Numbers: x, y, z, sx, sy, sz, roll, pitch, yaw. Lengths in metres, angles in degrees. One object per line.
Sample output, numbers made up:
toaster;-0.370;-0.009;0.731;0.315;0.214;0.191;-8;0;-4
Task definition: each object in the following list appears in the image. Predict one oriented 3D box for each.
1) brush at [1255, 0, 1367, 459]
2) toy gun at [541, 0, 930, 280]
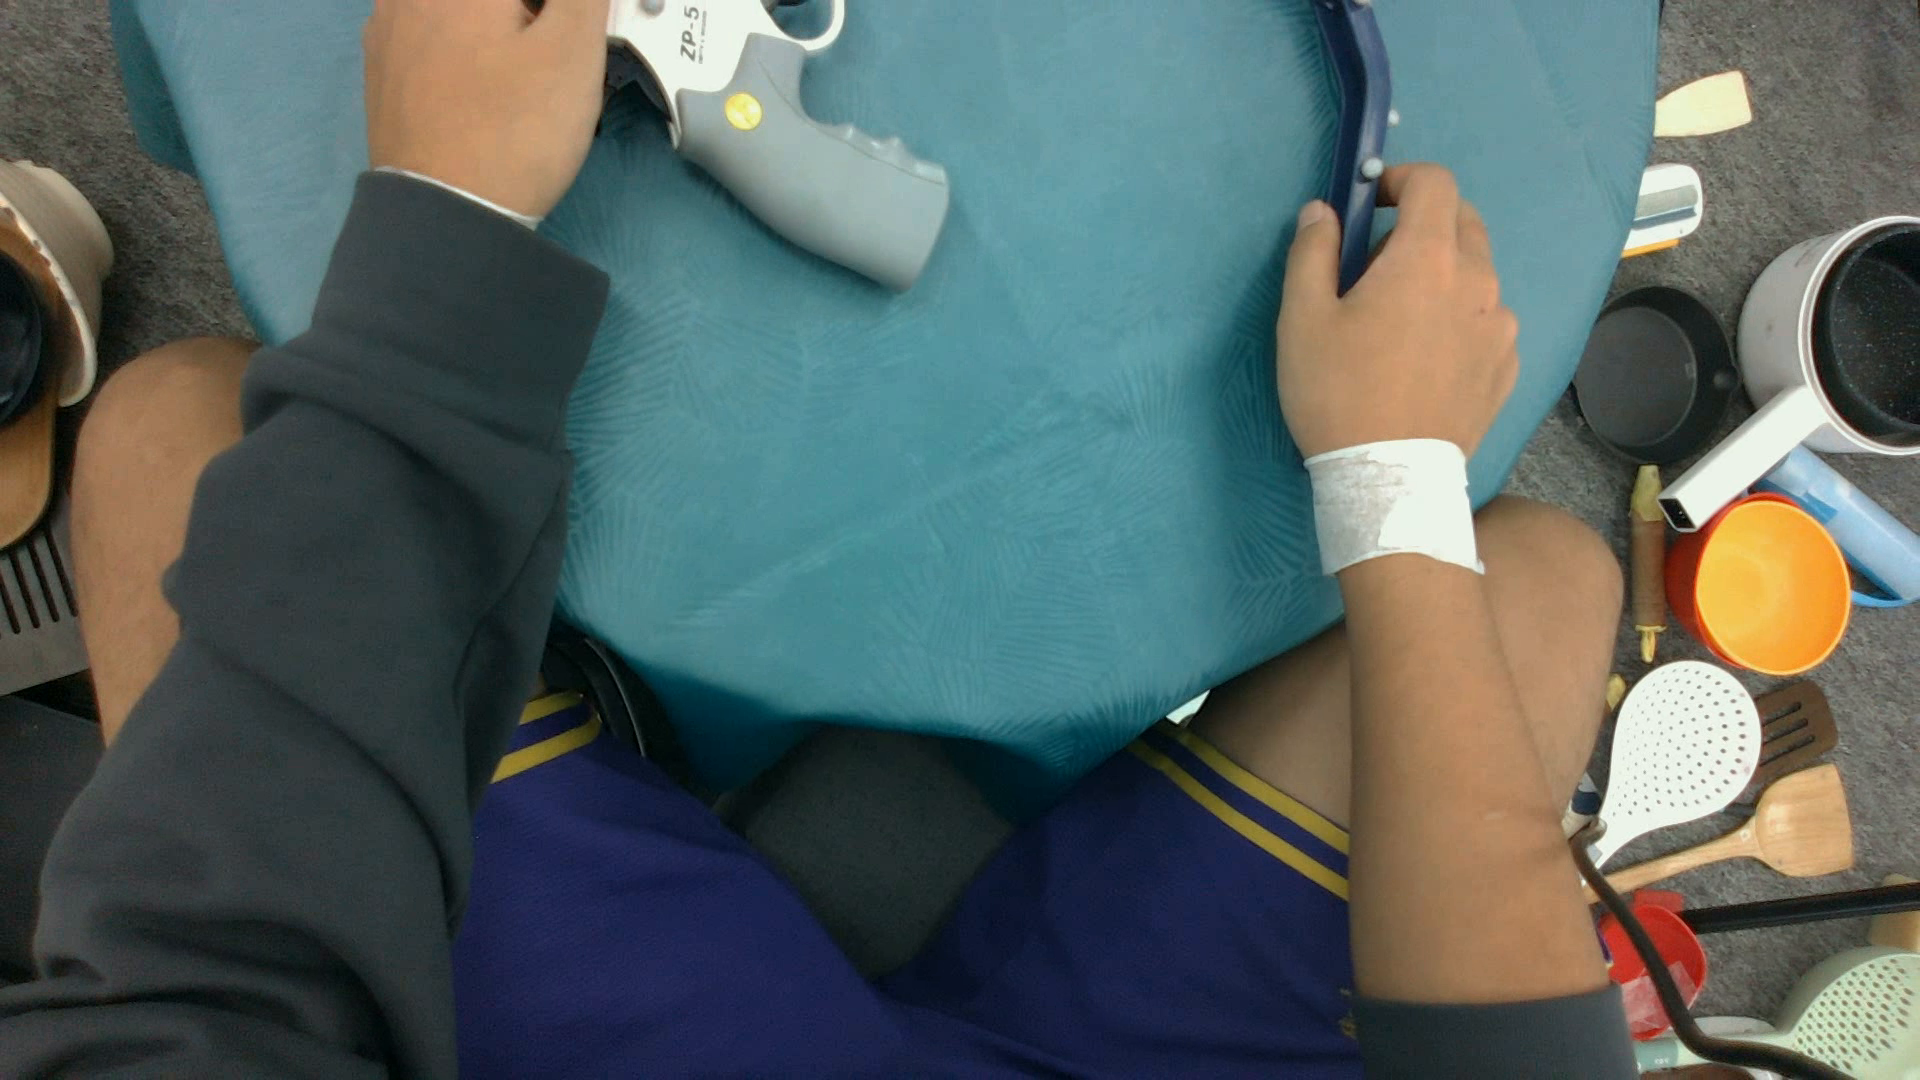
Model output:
brush;0.159;-0.169;0.562;0.096;0.033;0.273;0;91;-13
toy gun;-0.077;-0.206;0.503;0.142;0.039;0.209;4;88;-19
